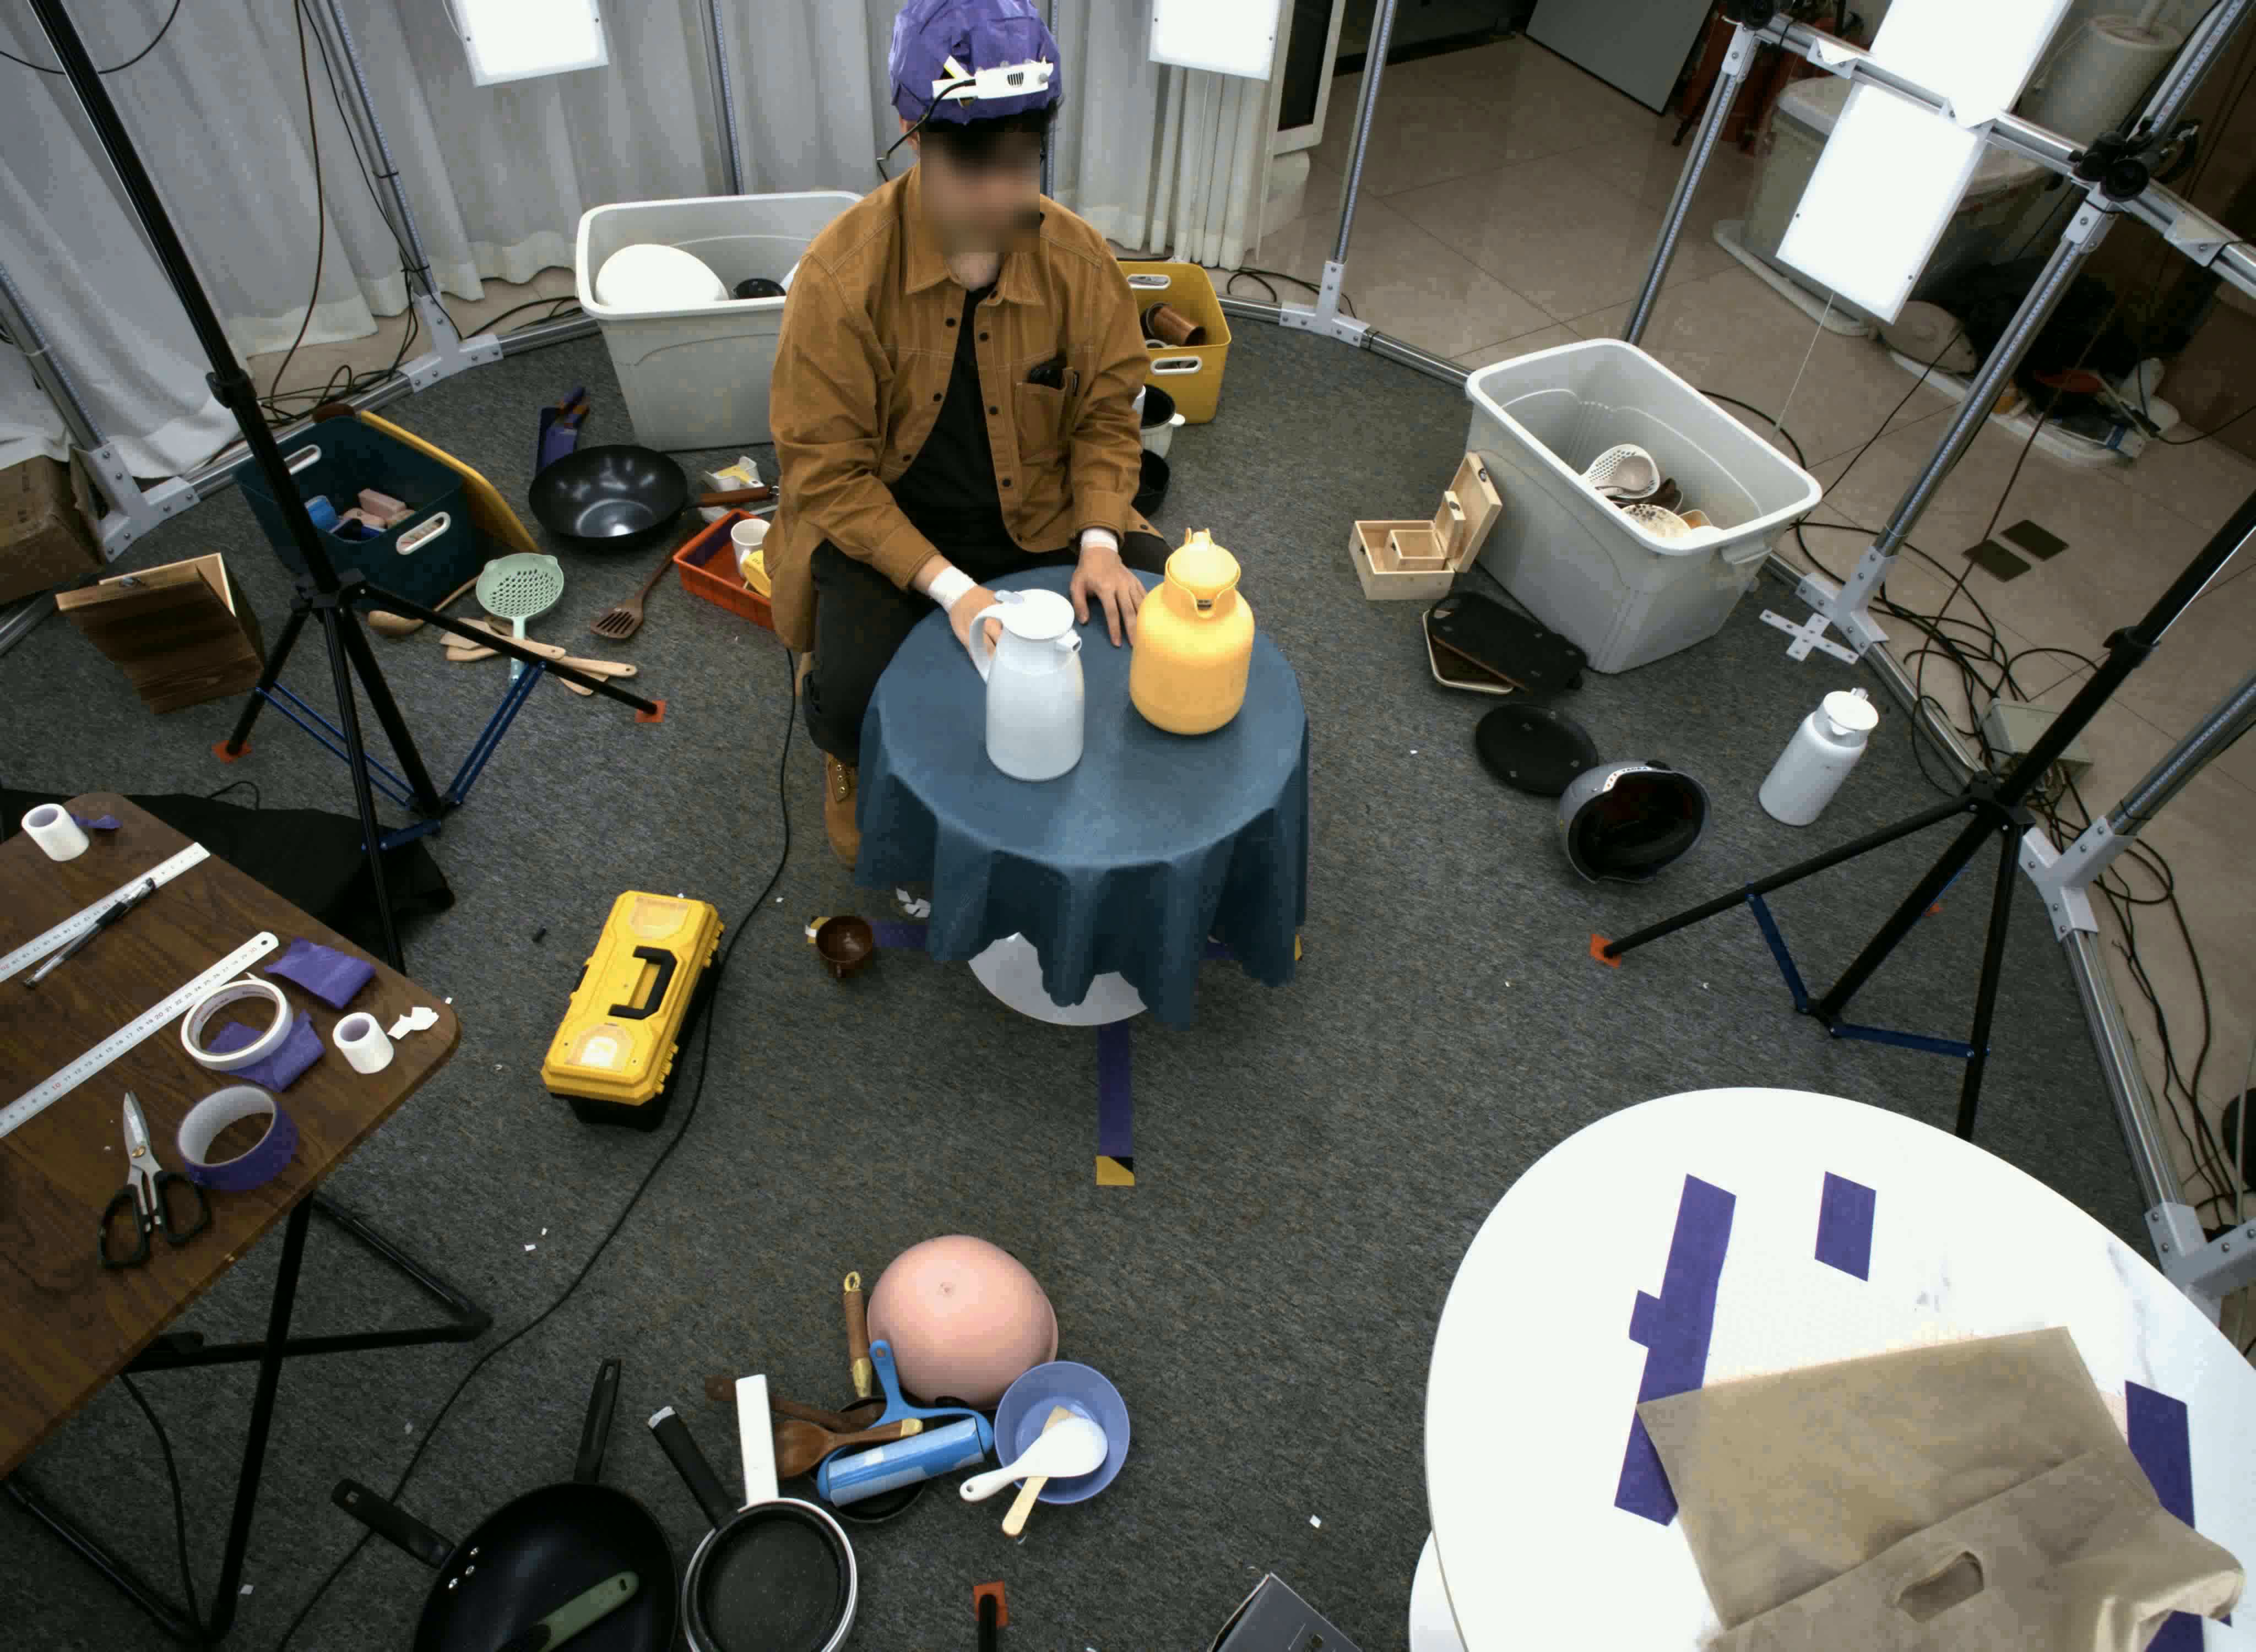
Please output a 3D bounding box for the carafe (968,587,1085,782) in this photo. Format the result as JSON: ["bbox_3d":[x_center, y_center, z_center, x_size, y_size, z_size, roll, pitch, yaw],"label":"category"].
[{"bbox_3d":[-0.136,-0.196,1.669,0.169,0.242,0.134,29,54,21],"label":"carafe"}]

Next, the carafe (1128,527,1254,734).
[{"bbox_3d":[0.089,-0.272,1.742,0.163,0.254,0.207,4,51,-3],"label":"carafe"}]
